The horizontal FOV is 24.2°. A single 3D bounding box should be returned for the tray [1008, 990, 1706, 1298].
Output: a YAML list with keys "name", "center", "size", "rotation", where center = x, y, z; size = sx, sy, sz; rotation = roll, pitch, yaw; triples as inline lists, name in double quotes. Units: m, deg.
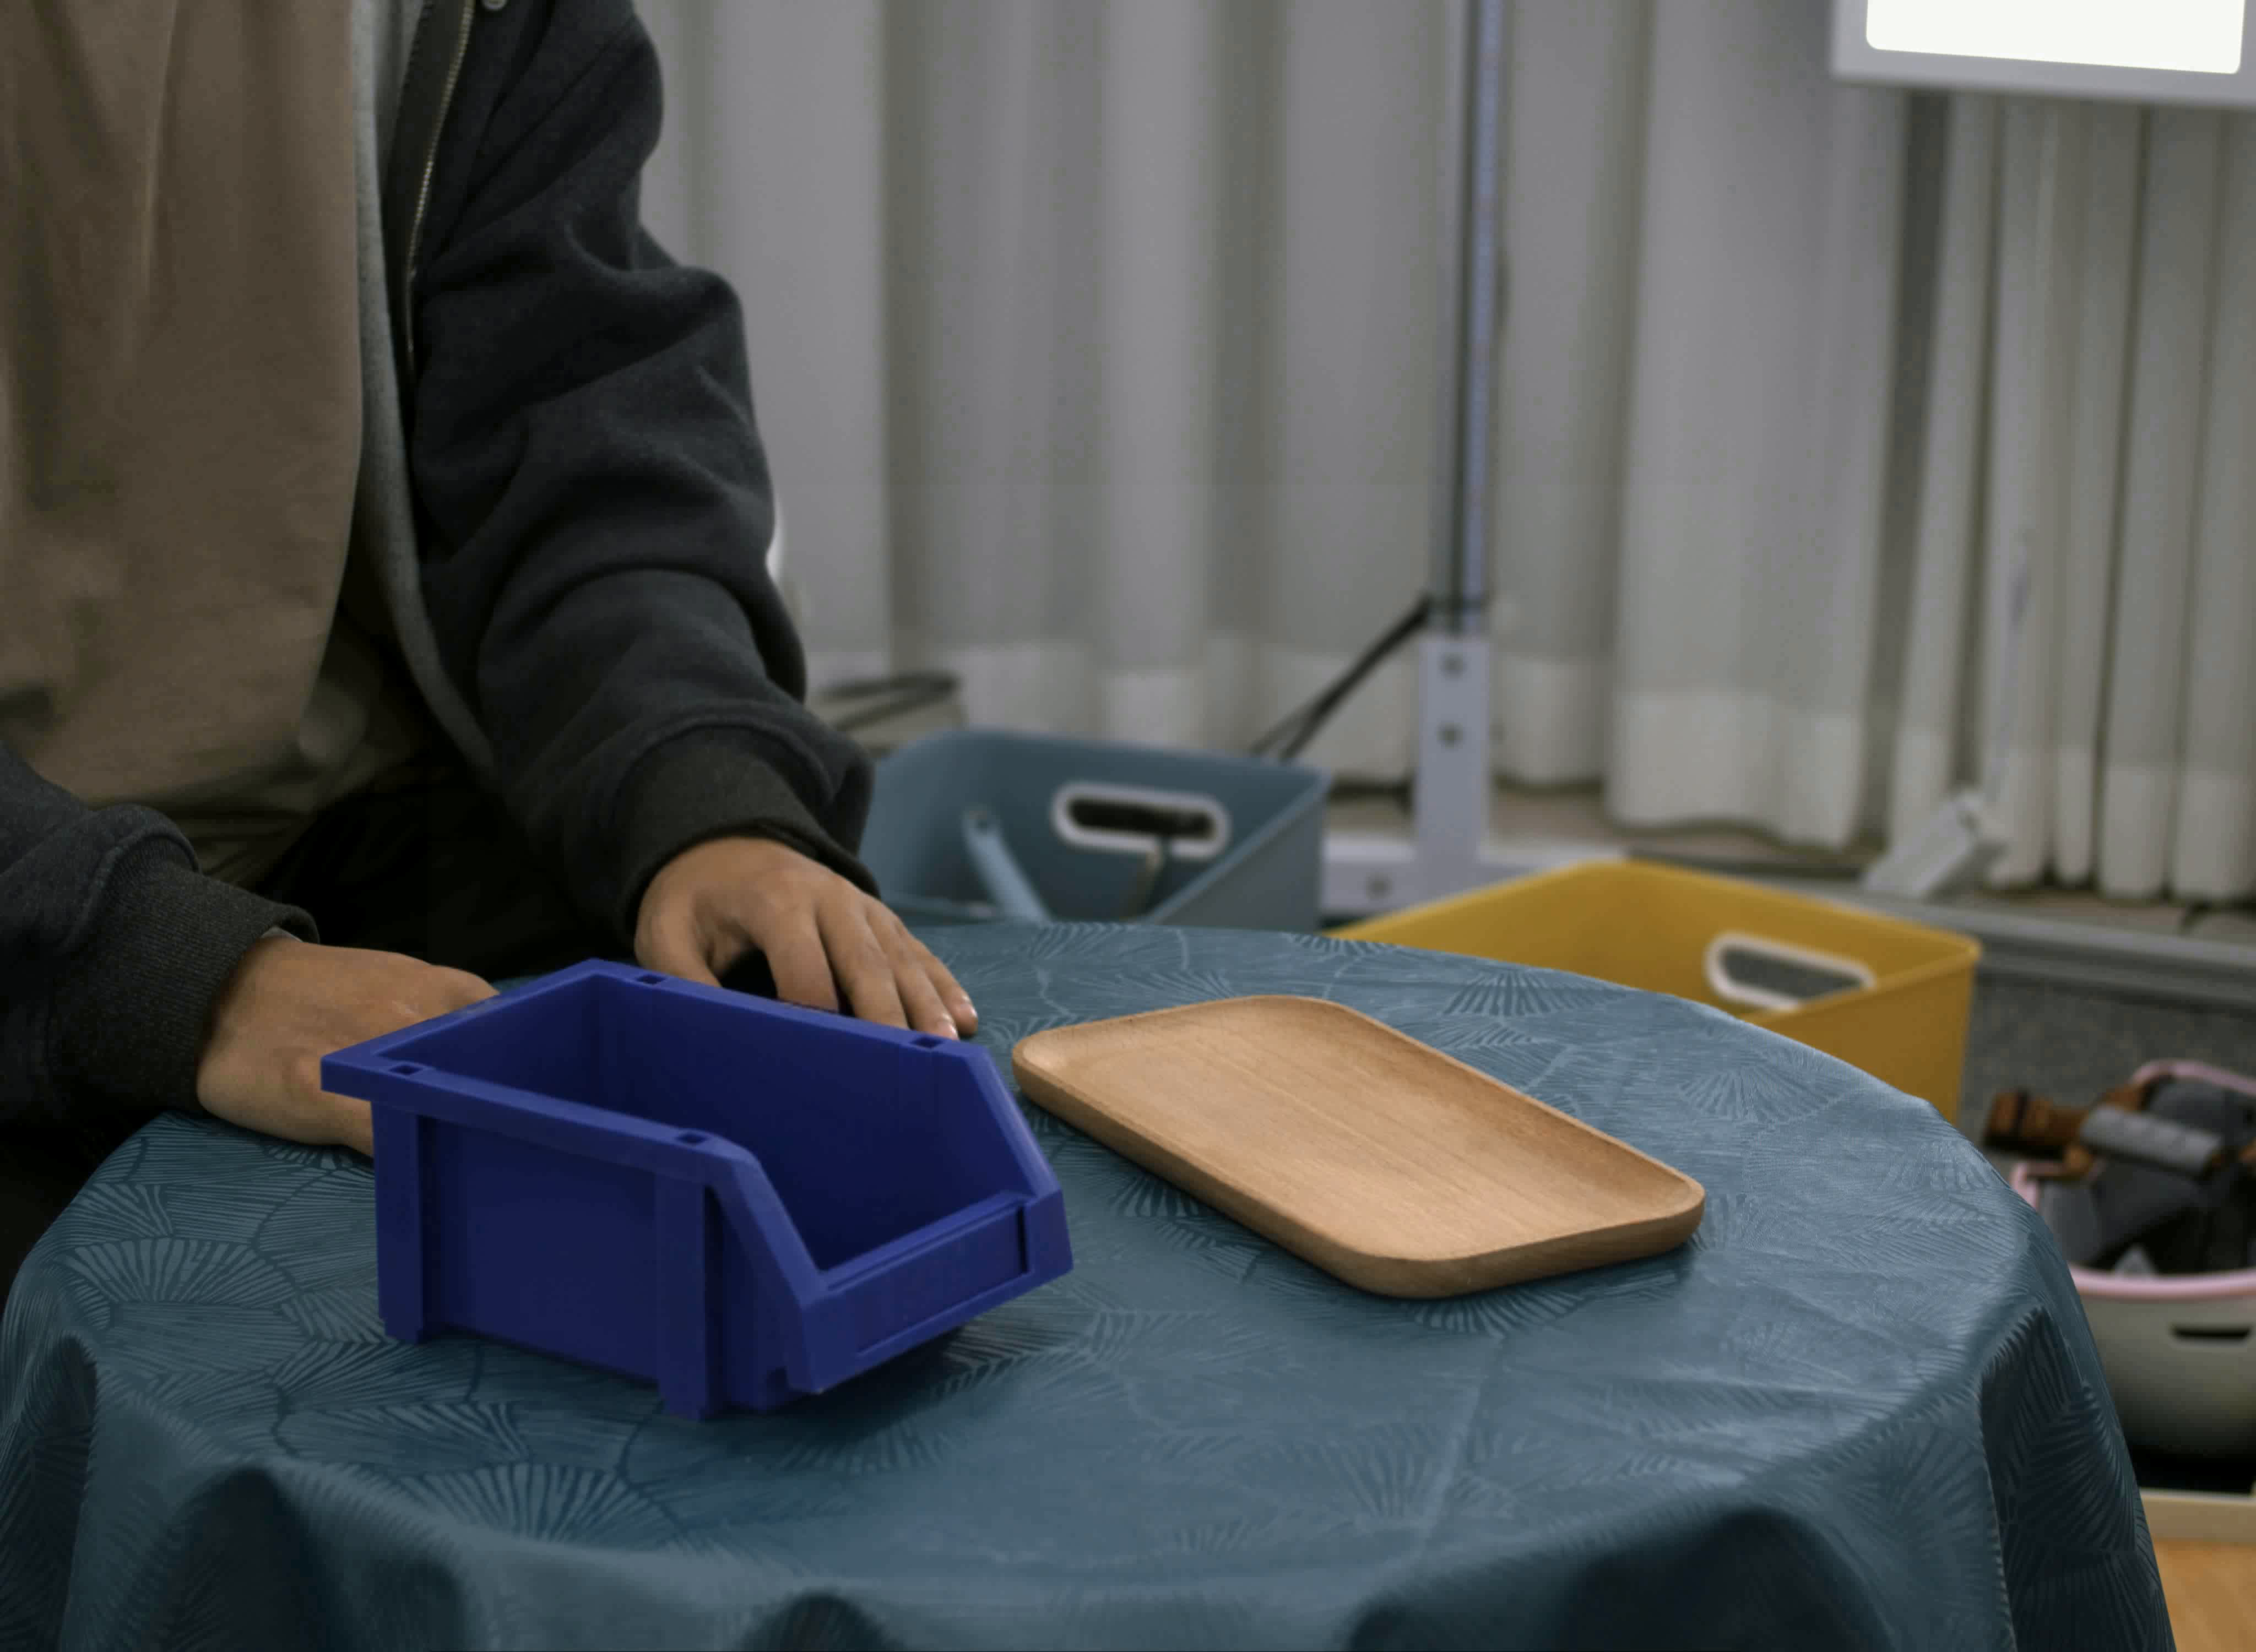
- name: "tray"
  center: [0.067, 0.097, 1.648]
  size: [0.131, 0.023, 0.247]
  rotation: [-5, 16, -29]

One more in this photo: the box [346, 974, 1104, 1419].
- name: "box"
  center: [-0.113, 0.104, 1.493]
  size: [0.177, 0.082, 0.125]
  rotation: [8, 17, 36]
